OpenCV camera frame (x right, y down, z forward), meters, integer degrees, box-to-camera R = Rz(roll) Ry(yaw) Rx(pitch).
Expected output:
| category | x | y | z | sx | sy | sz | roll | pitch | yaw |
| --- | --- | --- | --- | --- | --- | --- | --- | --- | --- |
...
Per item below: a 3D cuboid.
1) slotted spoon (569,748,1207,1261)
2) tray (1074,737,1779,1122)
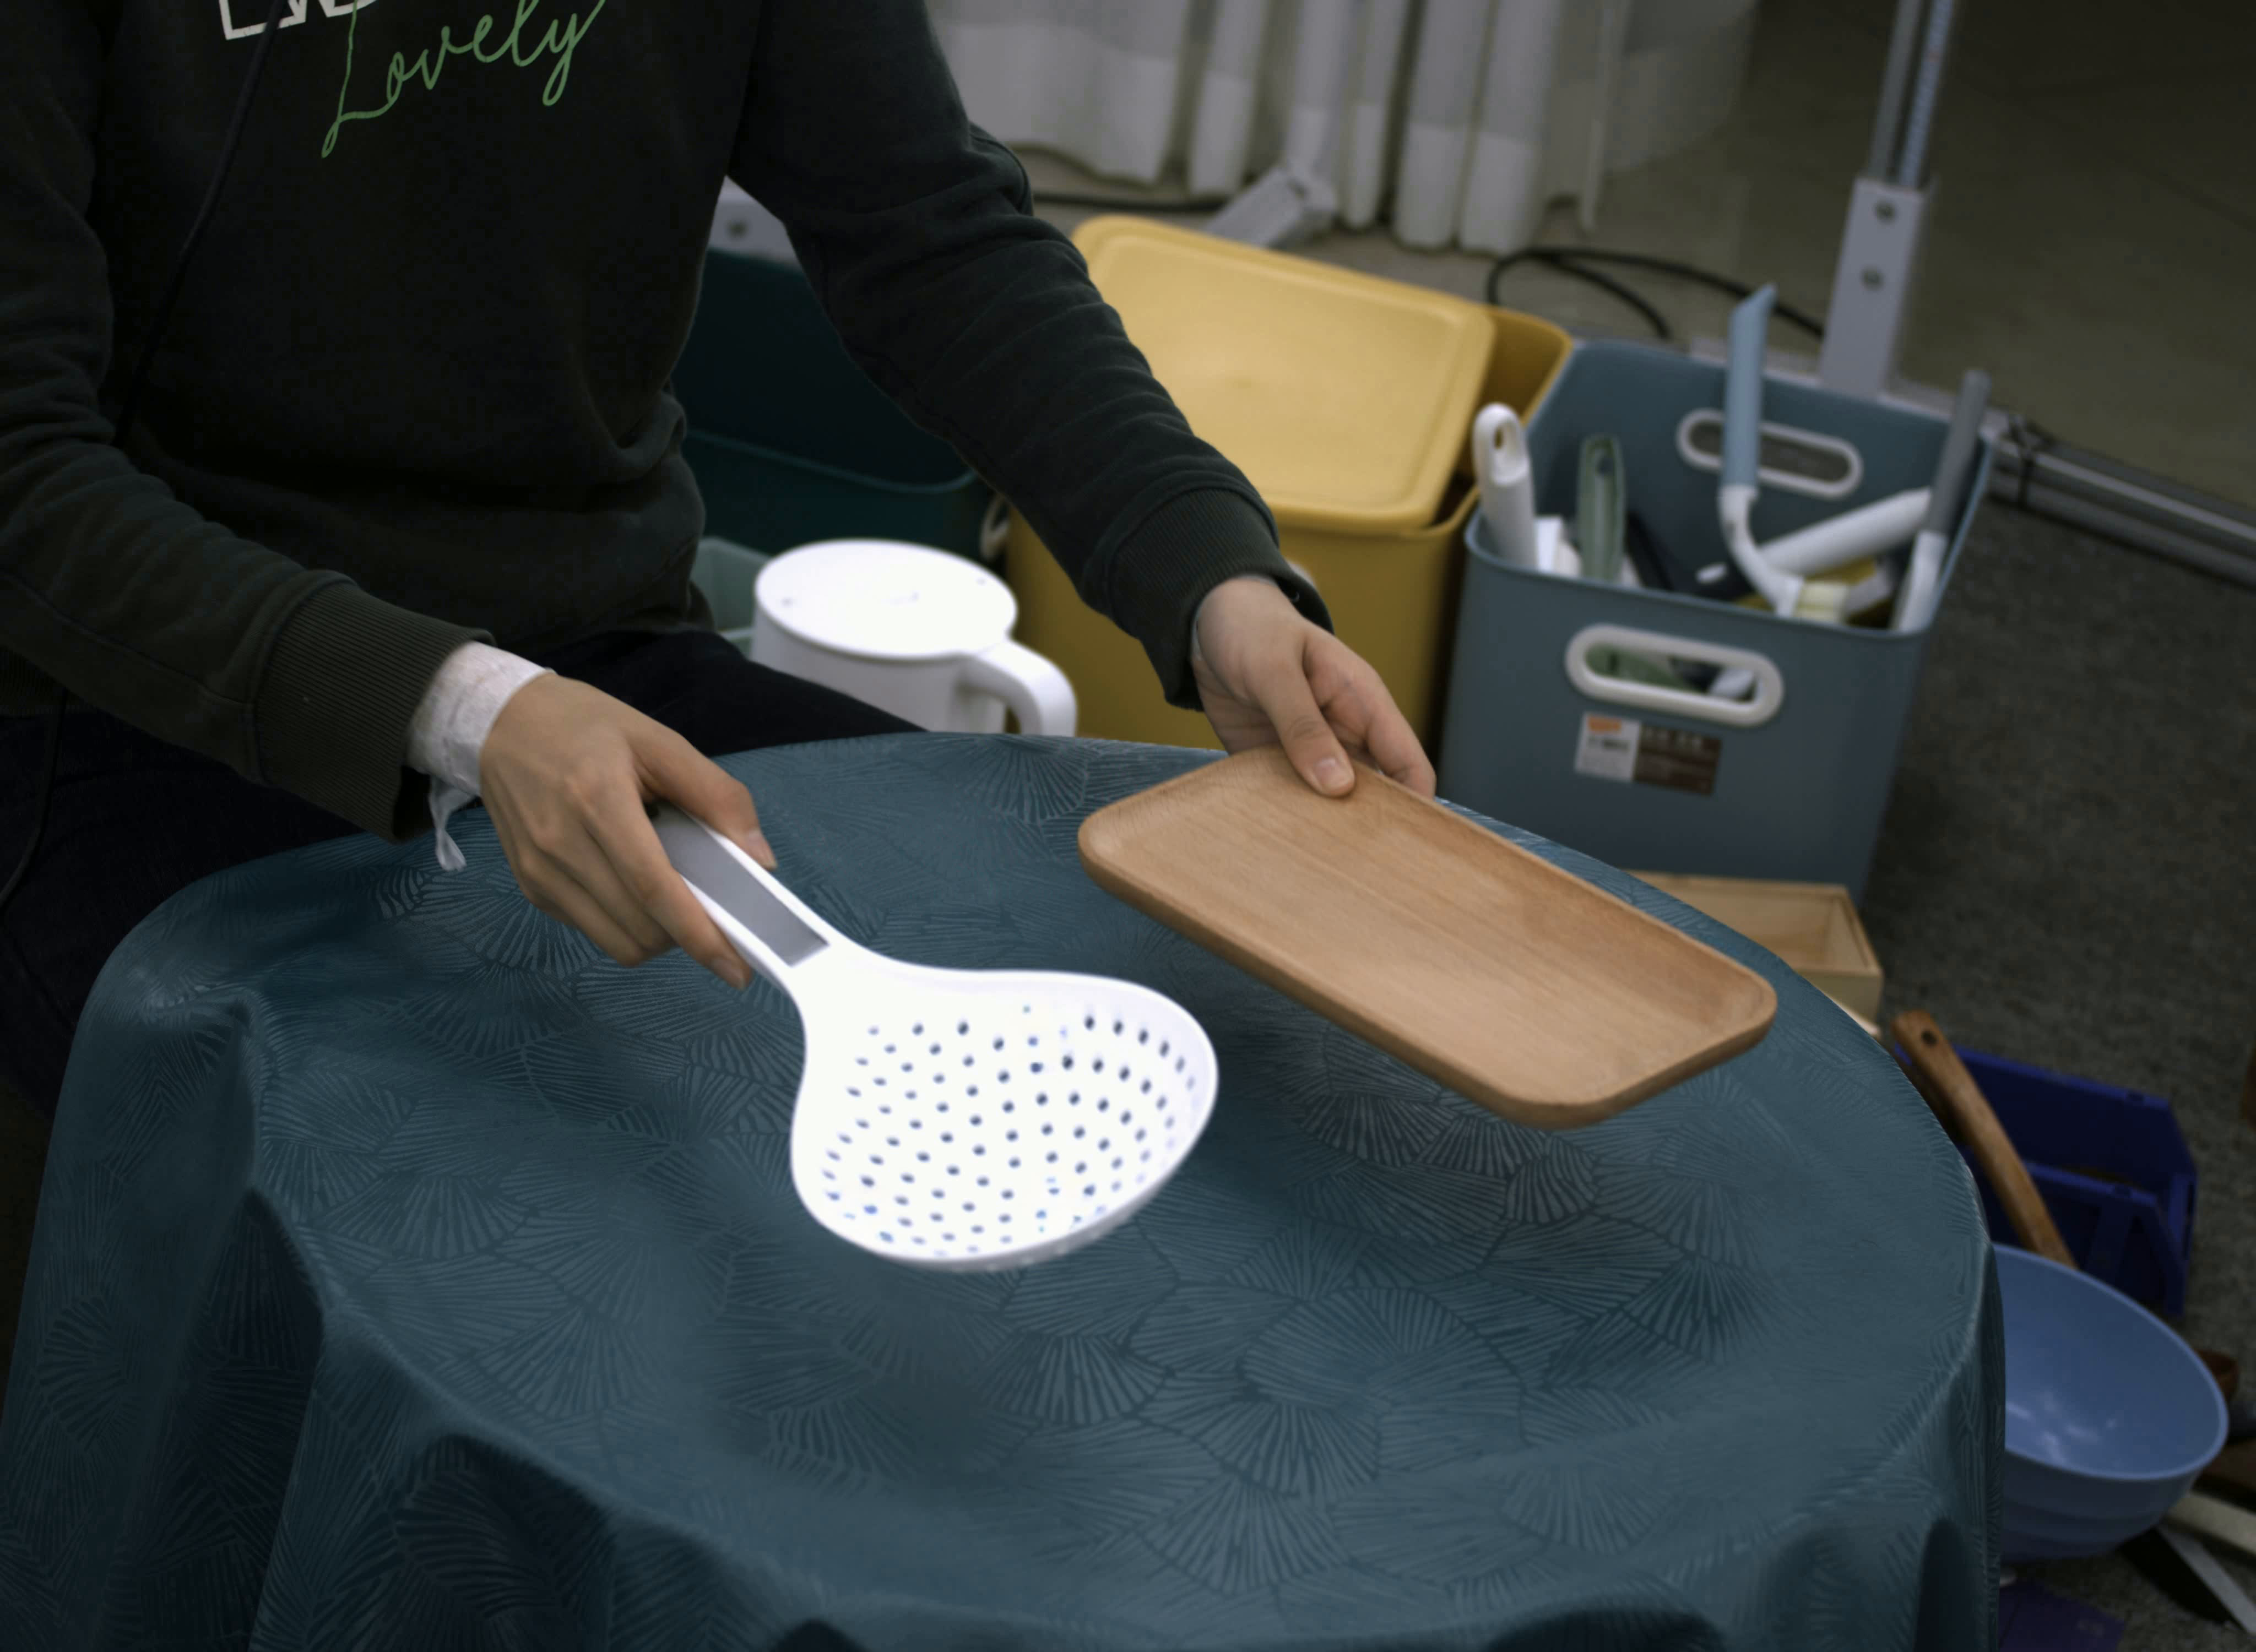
| category | x | y | z | sx | sy | sz | roll | pitch | yaw |
| --- | --- | --- | --- | --- | --- | --- | --- | --- | --- |
| slotted spoon | -0.096 | 0.050 | 1.734 | 0.135 | 0.045 | 0.353 | -29 | 40 | -19 |
| tray | 0.100 | 0.033 | 1.837 | 0.130 | 0.023 | 0.252 | -19 | 34 | -38 |
